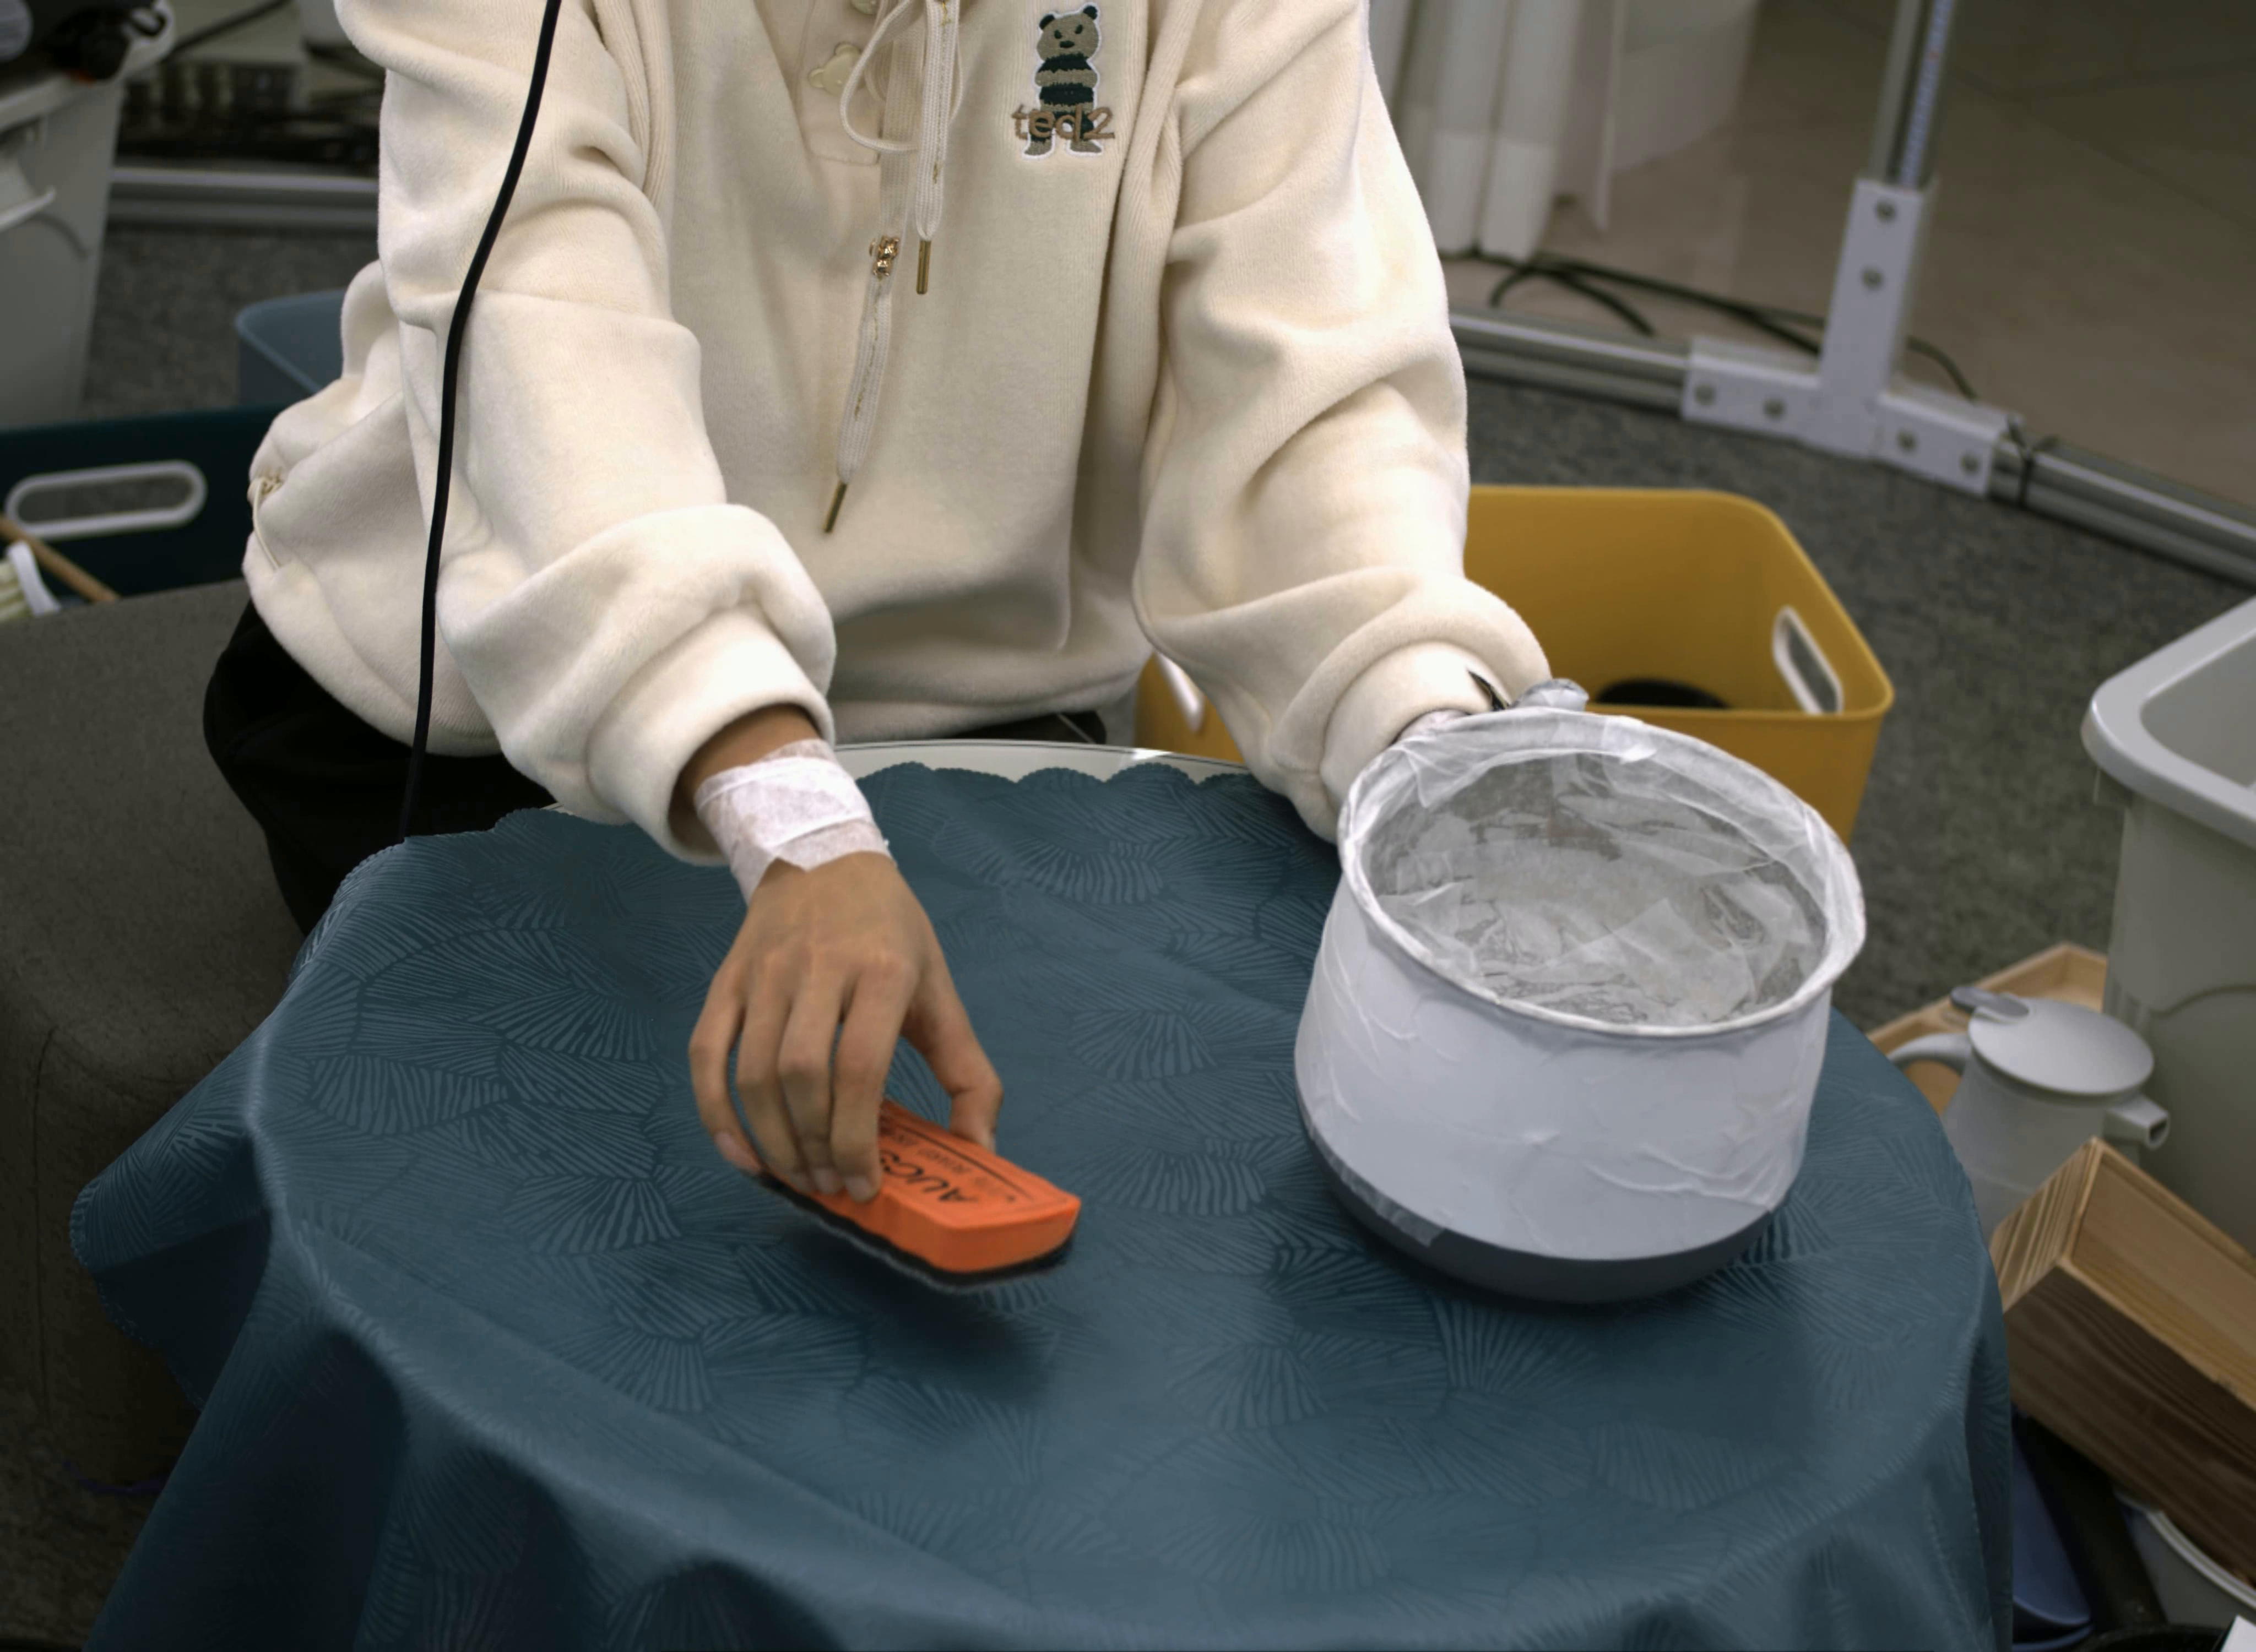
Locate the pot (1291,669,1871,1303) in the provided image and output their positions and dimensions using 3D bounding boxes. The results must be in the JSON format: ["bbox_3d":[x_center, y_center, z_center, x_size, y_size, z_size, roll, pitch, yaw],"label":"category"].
[{"bbox_3d":[0.145,0.045,1.806,0.178,0.136,0.236,4,37,-9],"label":"pot"}]

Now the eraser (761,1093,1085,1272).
[{"bbox_3d":[-0.067,0.115,1.721,0.058,0.023,0.109,-7,19,-40],"label":"eraser"}]
